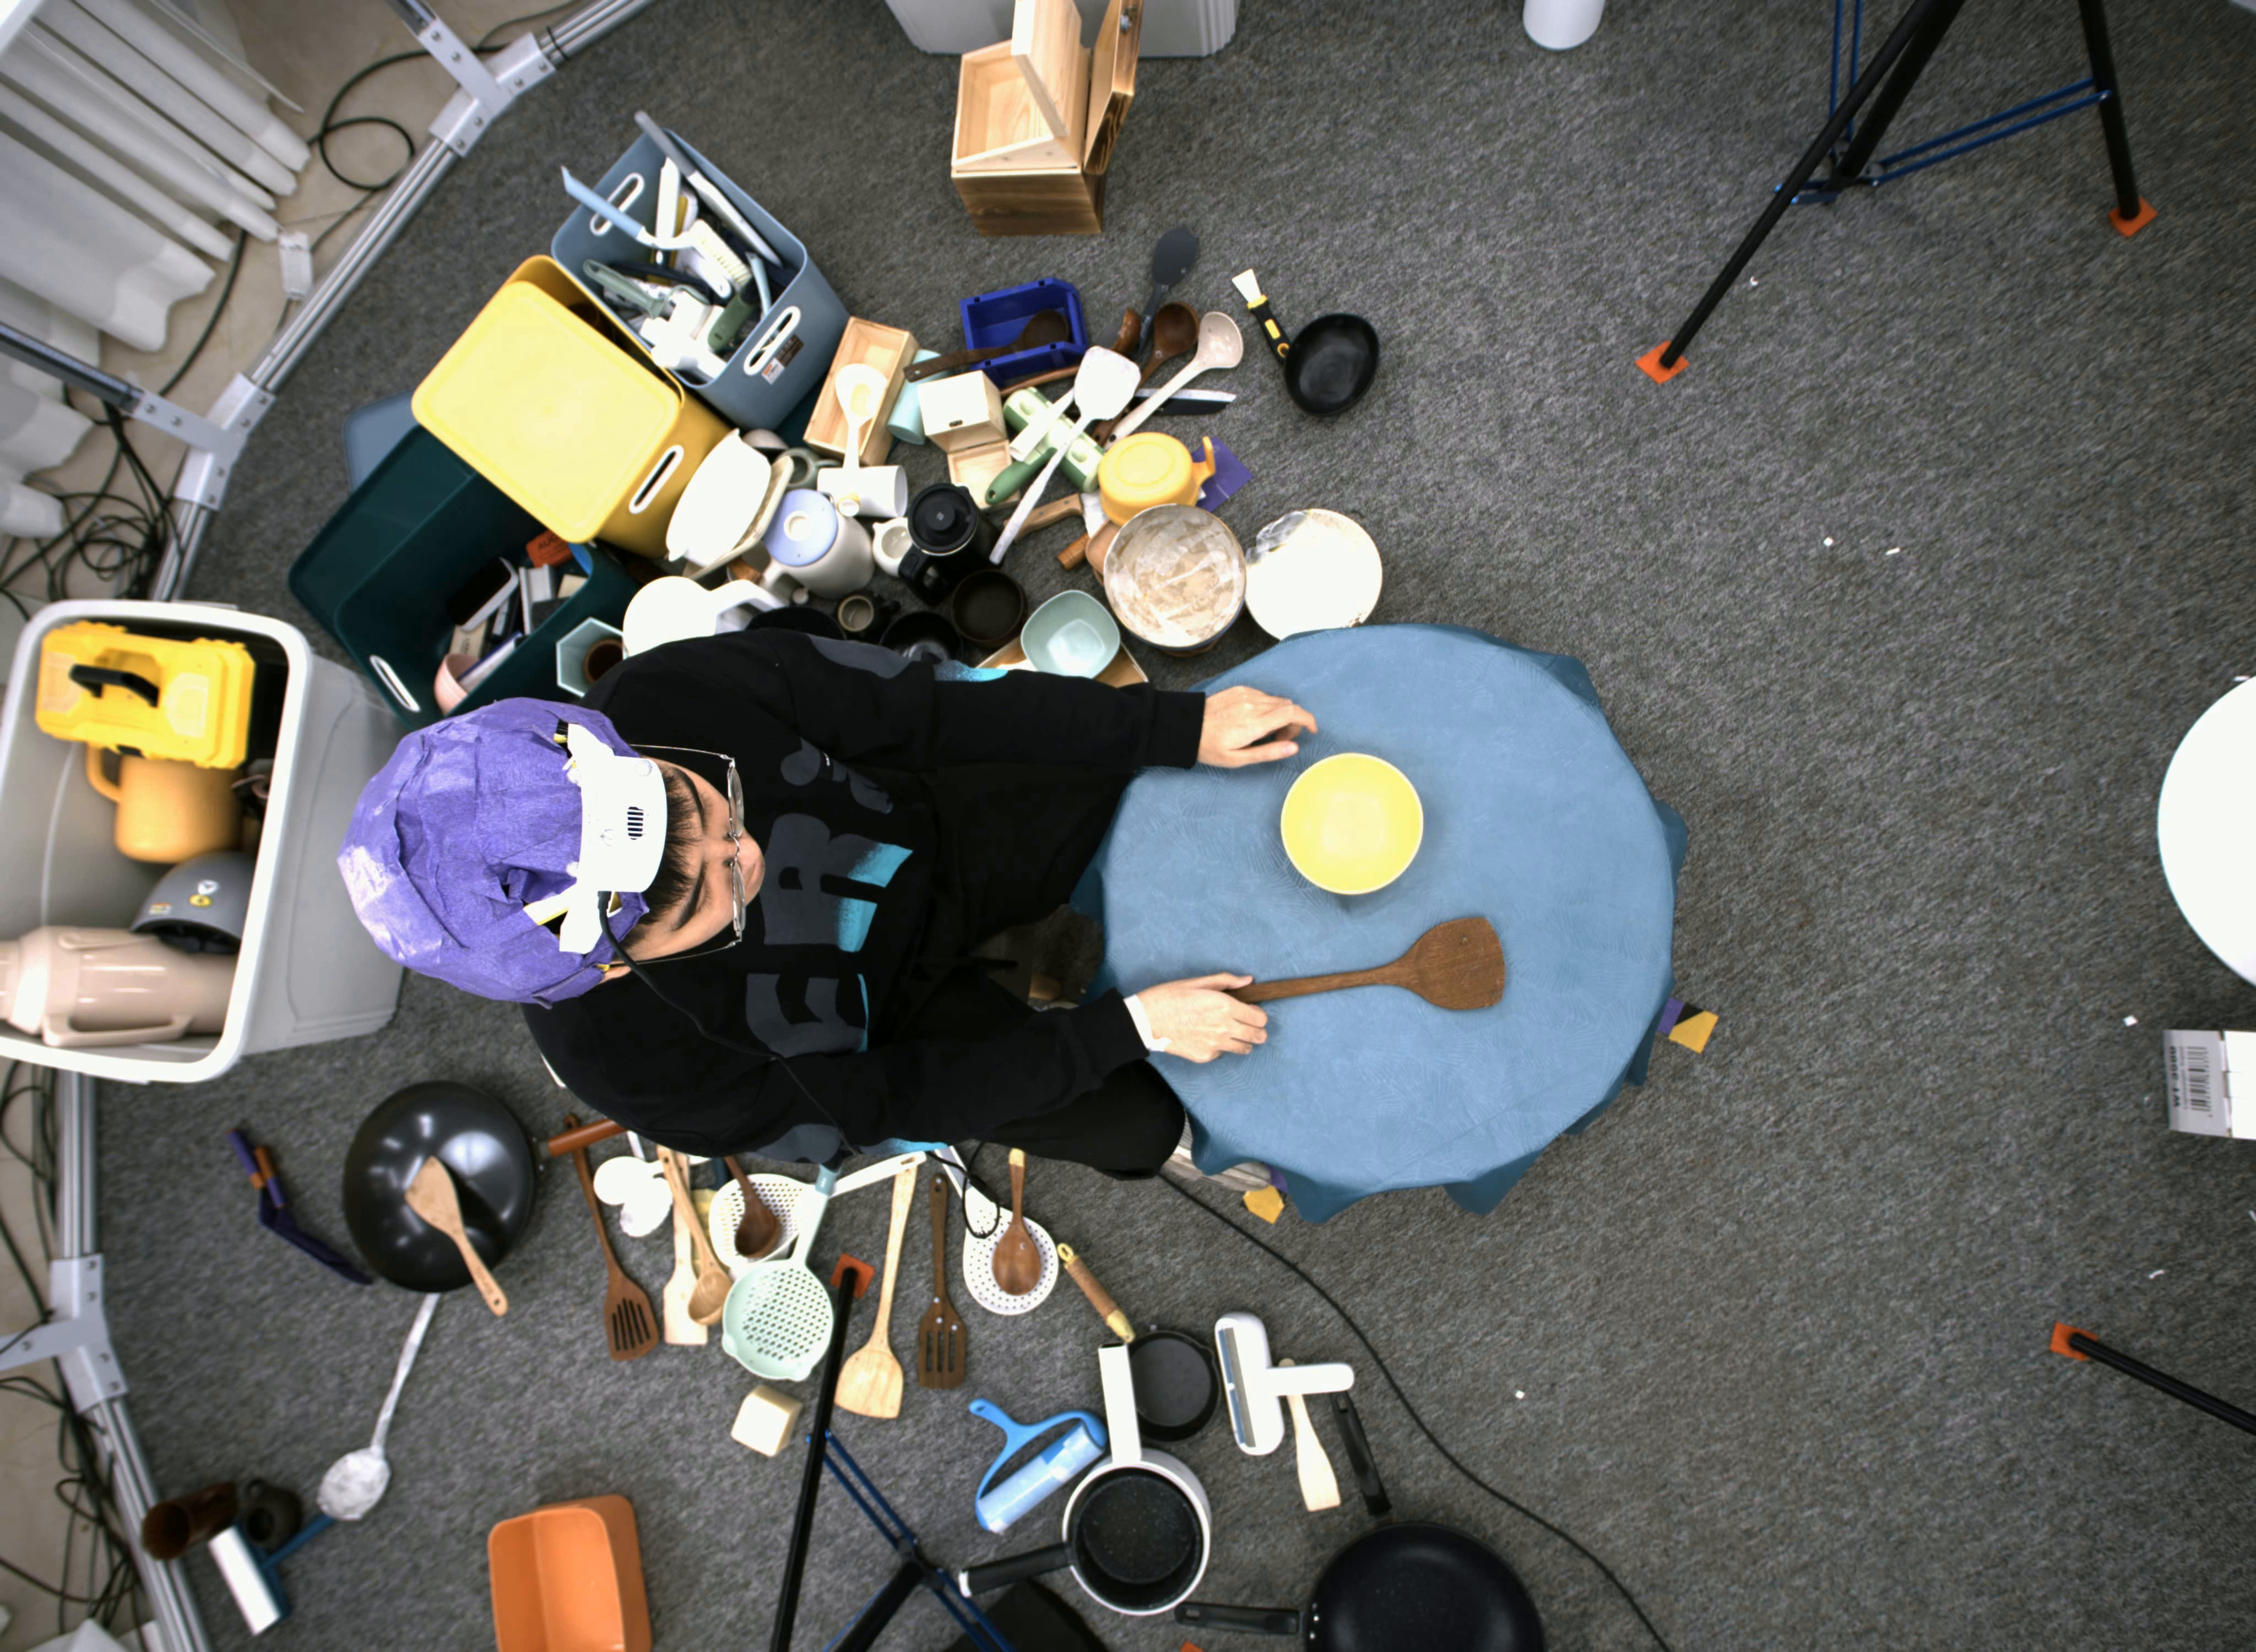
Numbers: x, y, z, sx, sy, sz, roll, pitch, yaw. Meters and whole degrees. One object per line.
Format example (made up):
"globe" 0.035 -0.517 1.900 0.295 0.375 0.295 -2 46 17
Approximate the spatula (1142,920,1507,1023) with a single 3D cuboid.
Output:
"spatula" 0.203 0.169 1.463 0.388 0.016 0.095 -9 84 10

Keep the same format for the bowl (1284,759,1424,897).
"bowl" 0.237 0.005 1.448 0.146 0.060 0.144 -2 83 11
